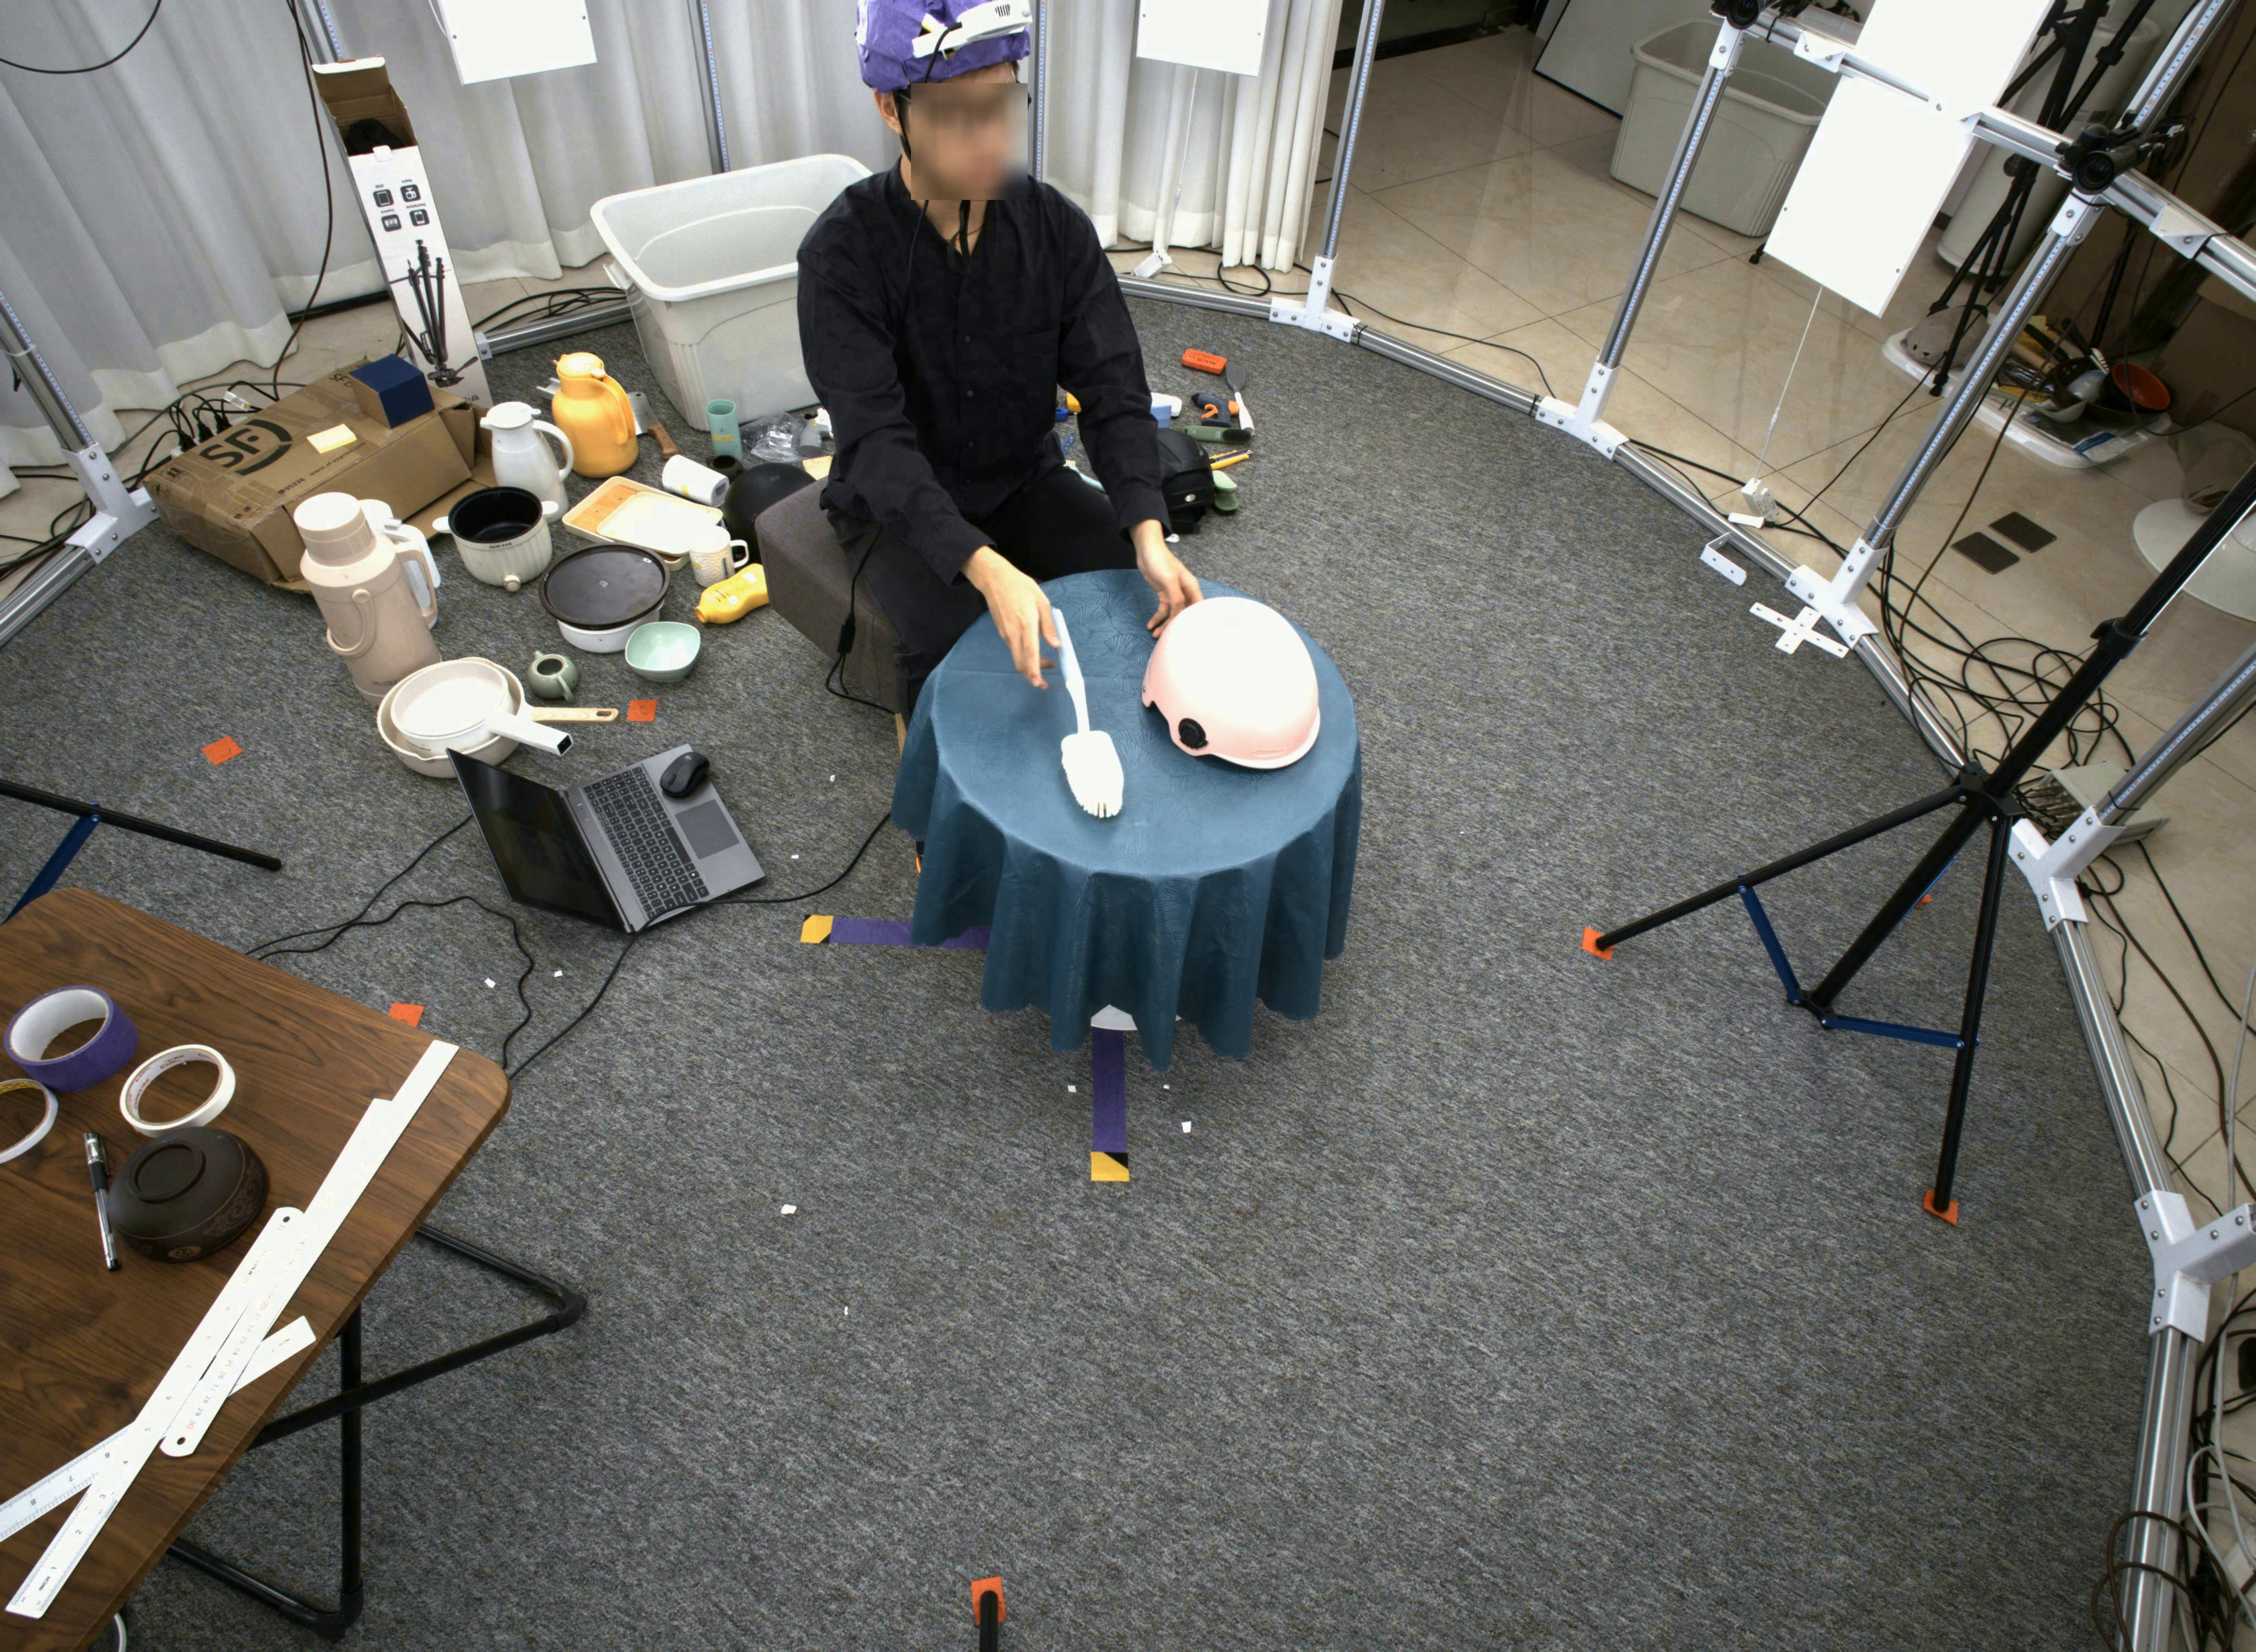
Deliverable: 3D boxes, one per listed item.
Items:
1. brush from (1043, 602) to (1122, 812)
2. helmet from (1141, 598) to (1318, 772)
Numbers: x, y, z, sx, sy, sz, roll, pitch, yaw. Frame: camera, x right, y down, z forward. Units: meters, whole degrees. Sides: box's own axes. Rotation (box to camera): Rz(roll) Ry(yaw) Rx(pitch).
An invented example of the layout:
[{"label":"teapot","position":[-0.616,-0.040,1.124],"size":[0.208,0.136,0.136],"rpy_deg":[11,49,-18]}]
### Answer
[{"label":"brush","position":[-0.066,-0.159,1.747],"size":[0.082,0.083,0.332],"rpy_deg":[12,51,-44]},{"label":"helmet","position":[0.153,-0.213,1.769],"size":[0.236,0.155,0.270],"rpy_deg":[-32,63,-28]}]
